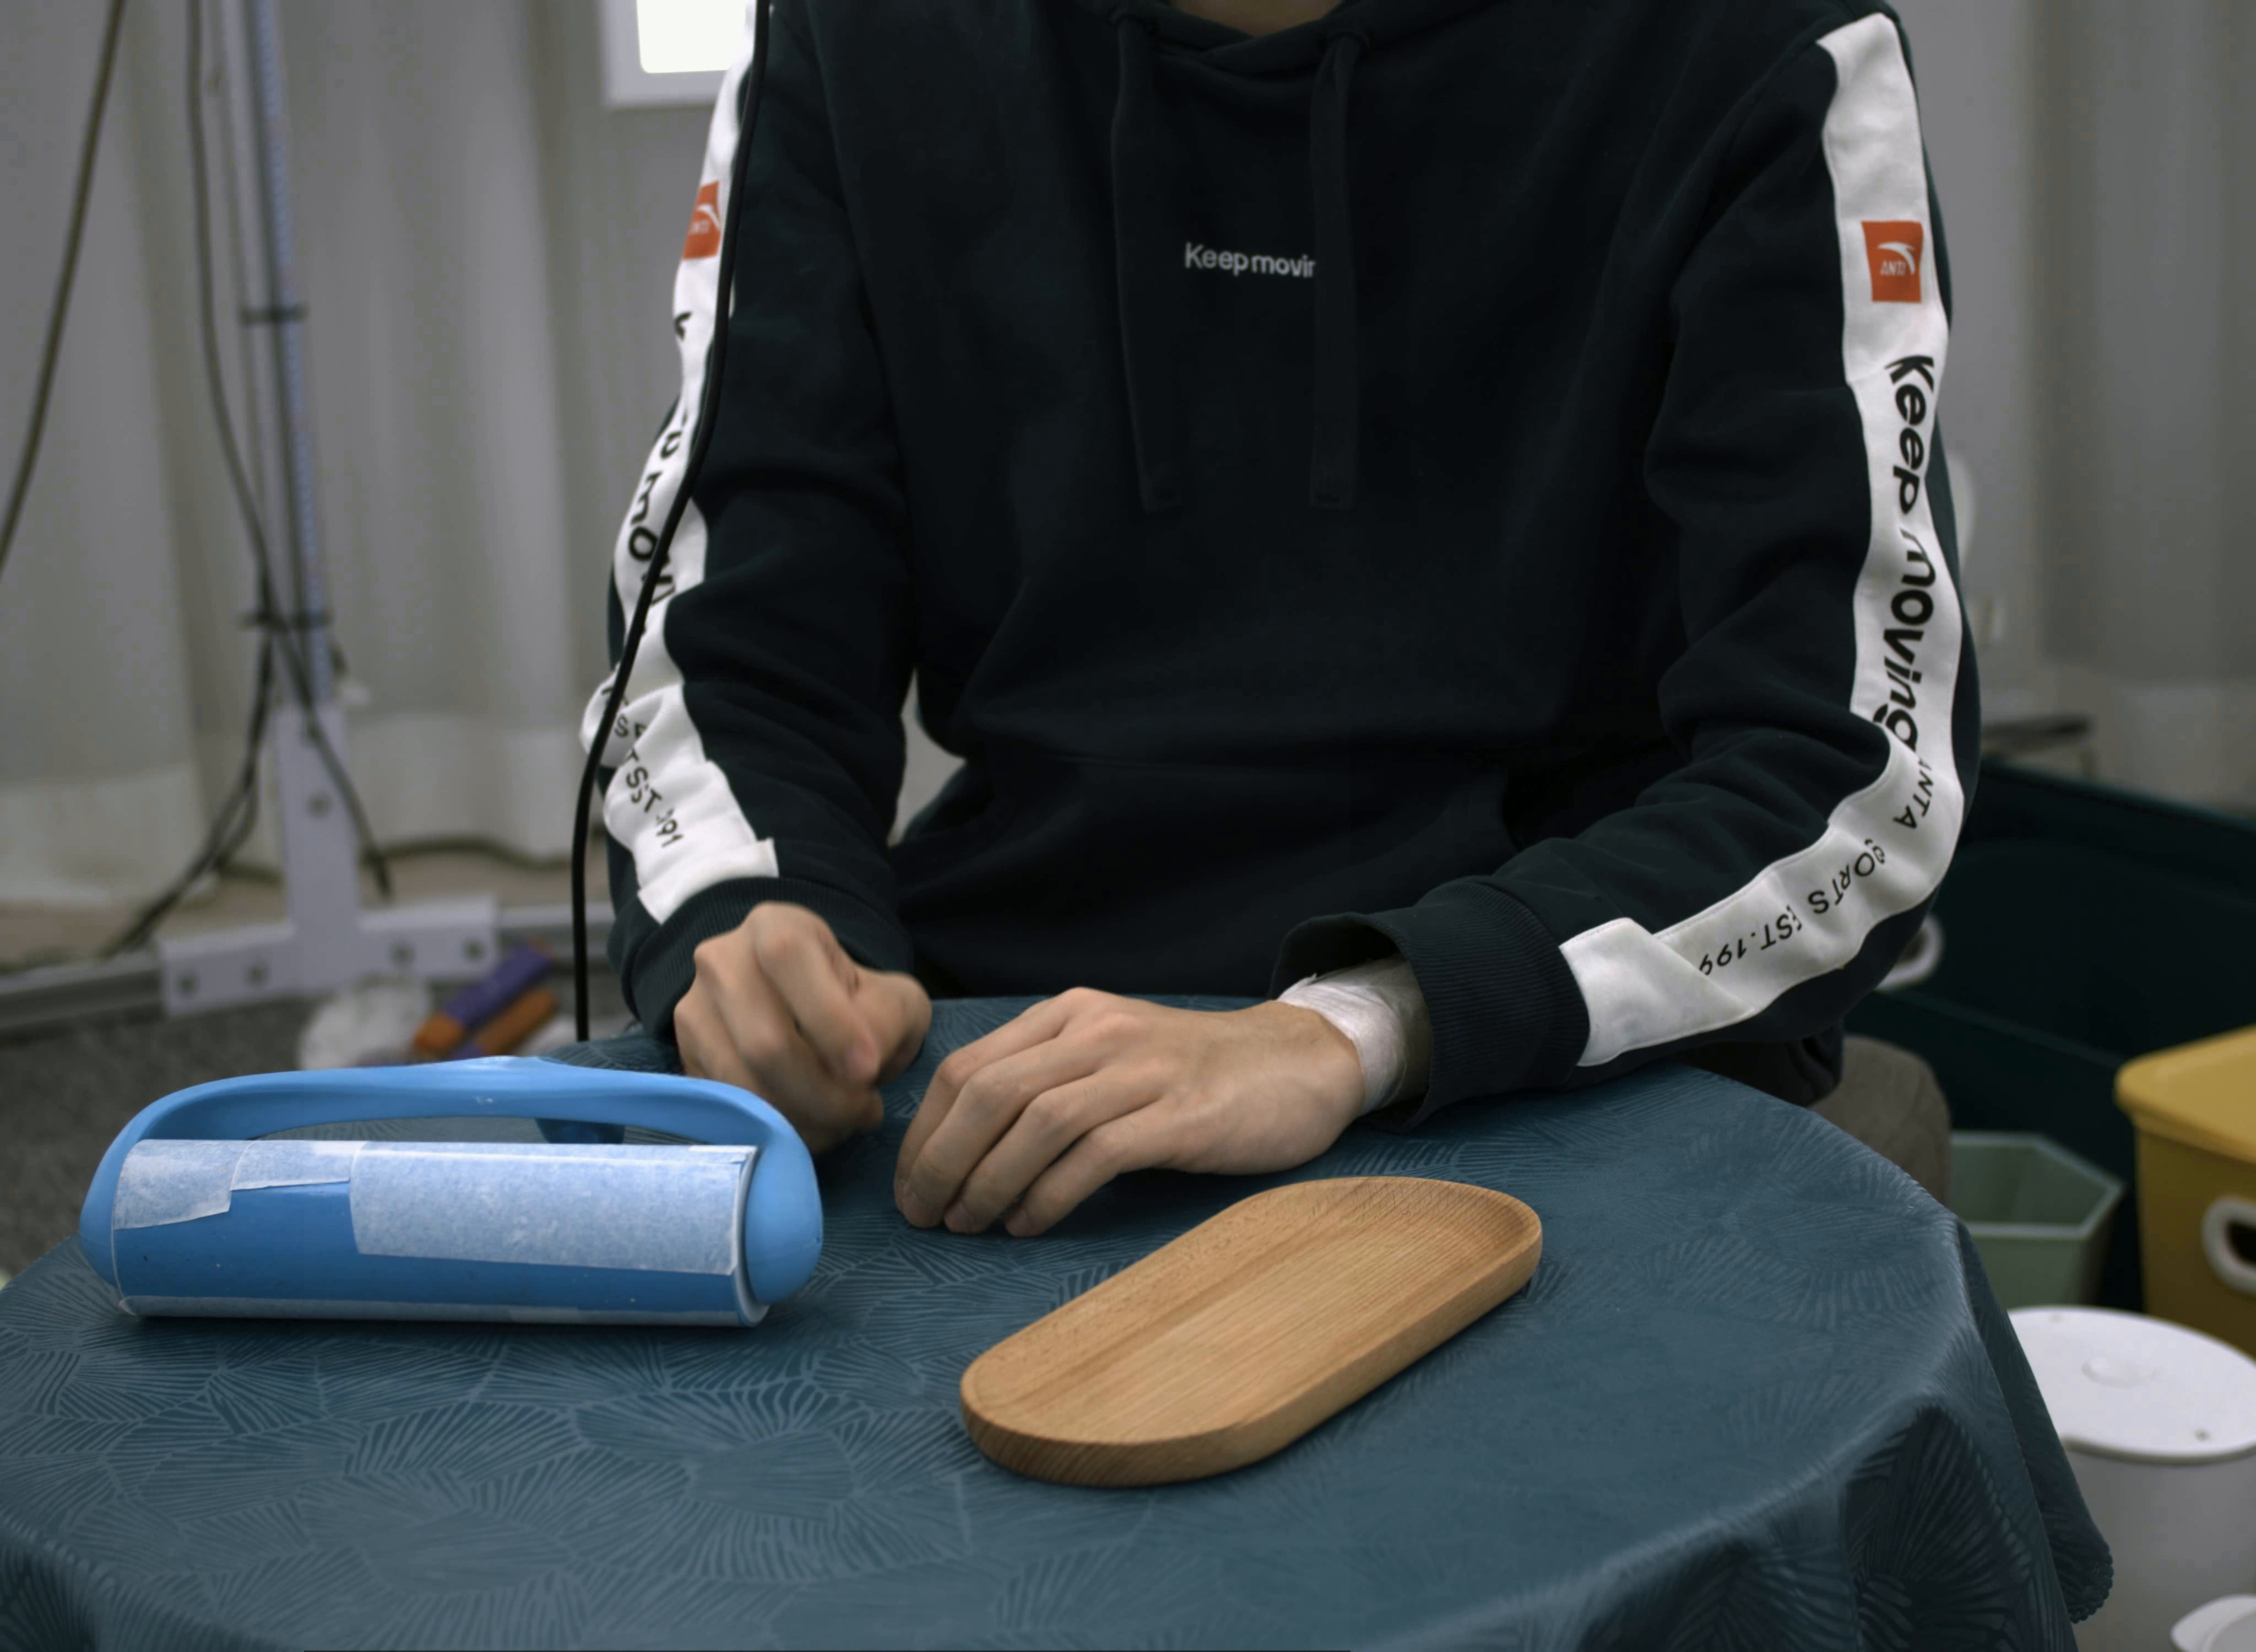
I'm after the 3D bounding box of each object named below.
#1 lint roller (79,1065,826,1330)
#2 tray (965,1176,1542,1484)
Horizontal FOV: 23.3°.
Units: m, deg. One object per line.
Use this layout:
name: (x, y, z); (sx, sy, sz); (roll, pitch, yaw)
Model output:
lint roller: (-0.193, 0.104, 1.683); (0.228, 0.067, 0.181); (-2, 16, 9)
tray: (0.039, 0.143, 1.571); (0.102, 0.020, 0.231); (7, 17, 30)
